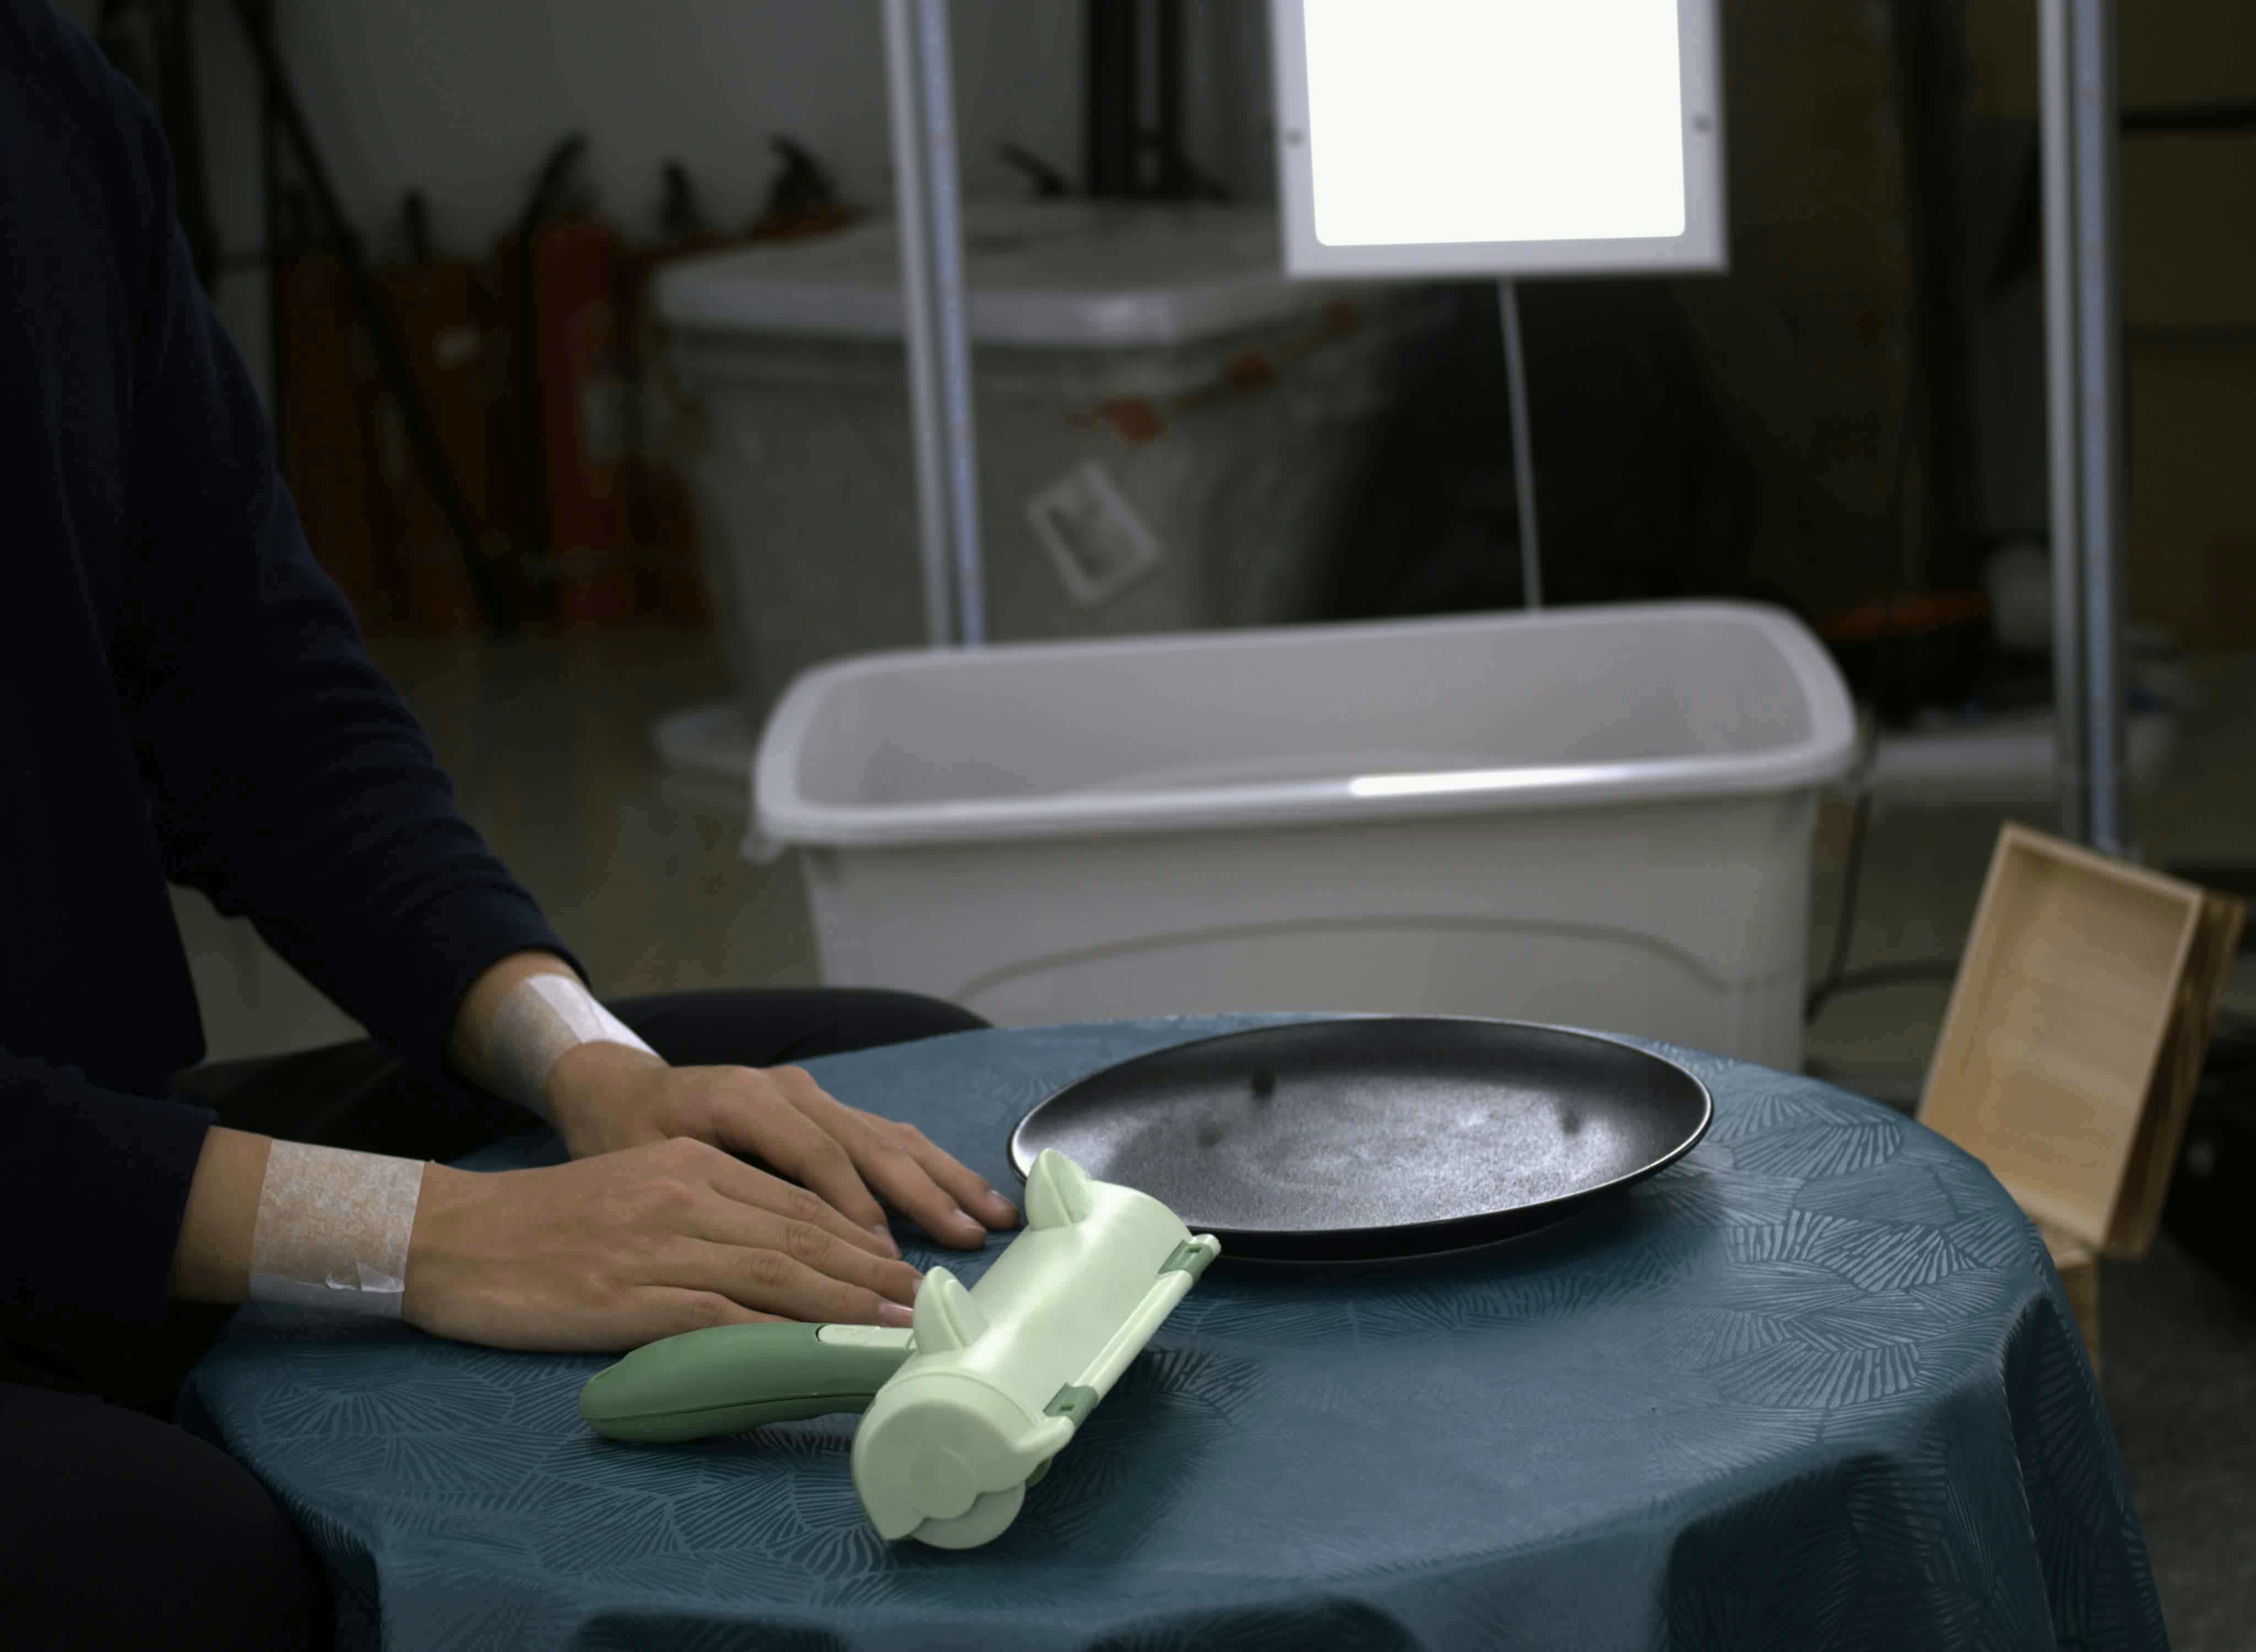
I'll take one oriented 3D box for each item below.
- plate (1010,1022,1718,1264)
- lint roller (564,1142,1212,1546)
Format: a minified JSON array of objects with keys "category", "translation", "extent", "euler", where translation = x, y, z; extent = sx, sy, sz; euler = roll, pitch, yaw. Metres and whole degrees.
[{"category":"plate","translation":[0.081,0.110,1.884],"extent":[0.244,0.023,0.244],"euler":[-5,14,0]},{"category":"lint roller","translation":[-0.084,0.147,1.667],"extent":[0.185,0.082,0.195],"euler":[5,15,15]}]
